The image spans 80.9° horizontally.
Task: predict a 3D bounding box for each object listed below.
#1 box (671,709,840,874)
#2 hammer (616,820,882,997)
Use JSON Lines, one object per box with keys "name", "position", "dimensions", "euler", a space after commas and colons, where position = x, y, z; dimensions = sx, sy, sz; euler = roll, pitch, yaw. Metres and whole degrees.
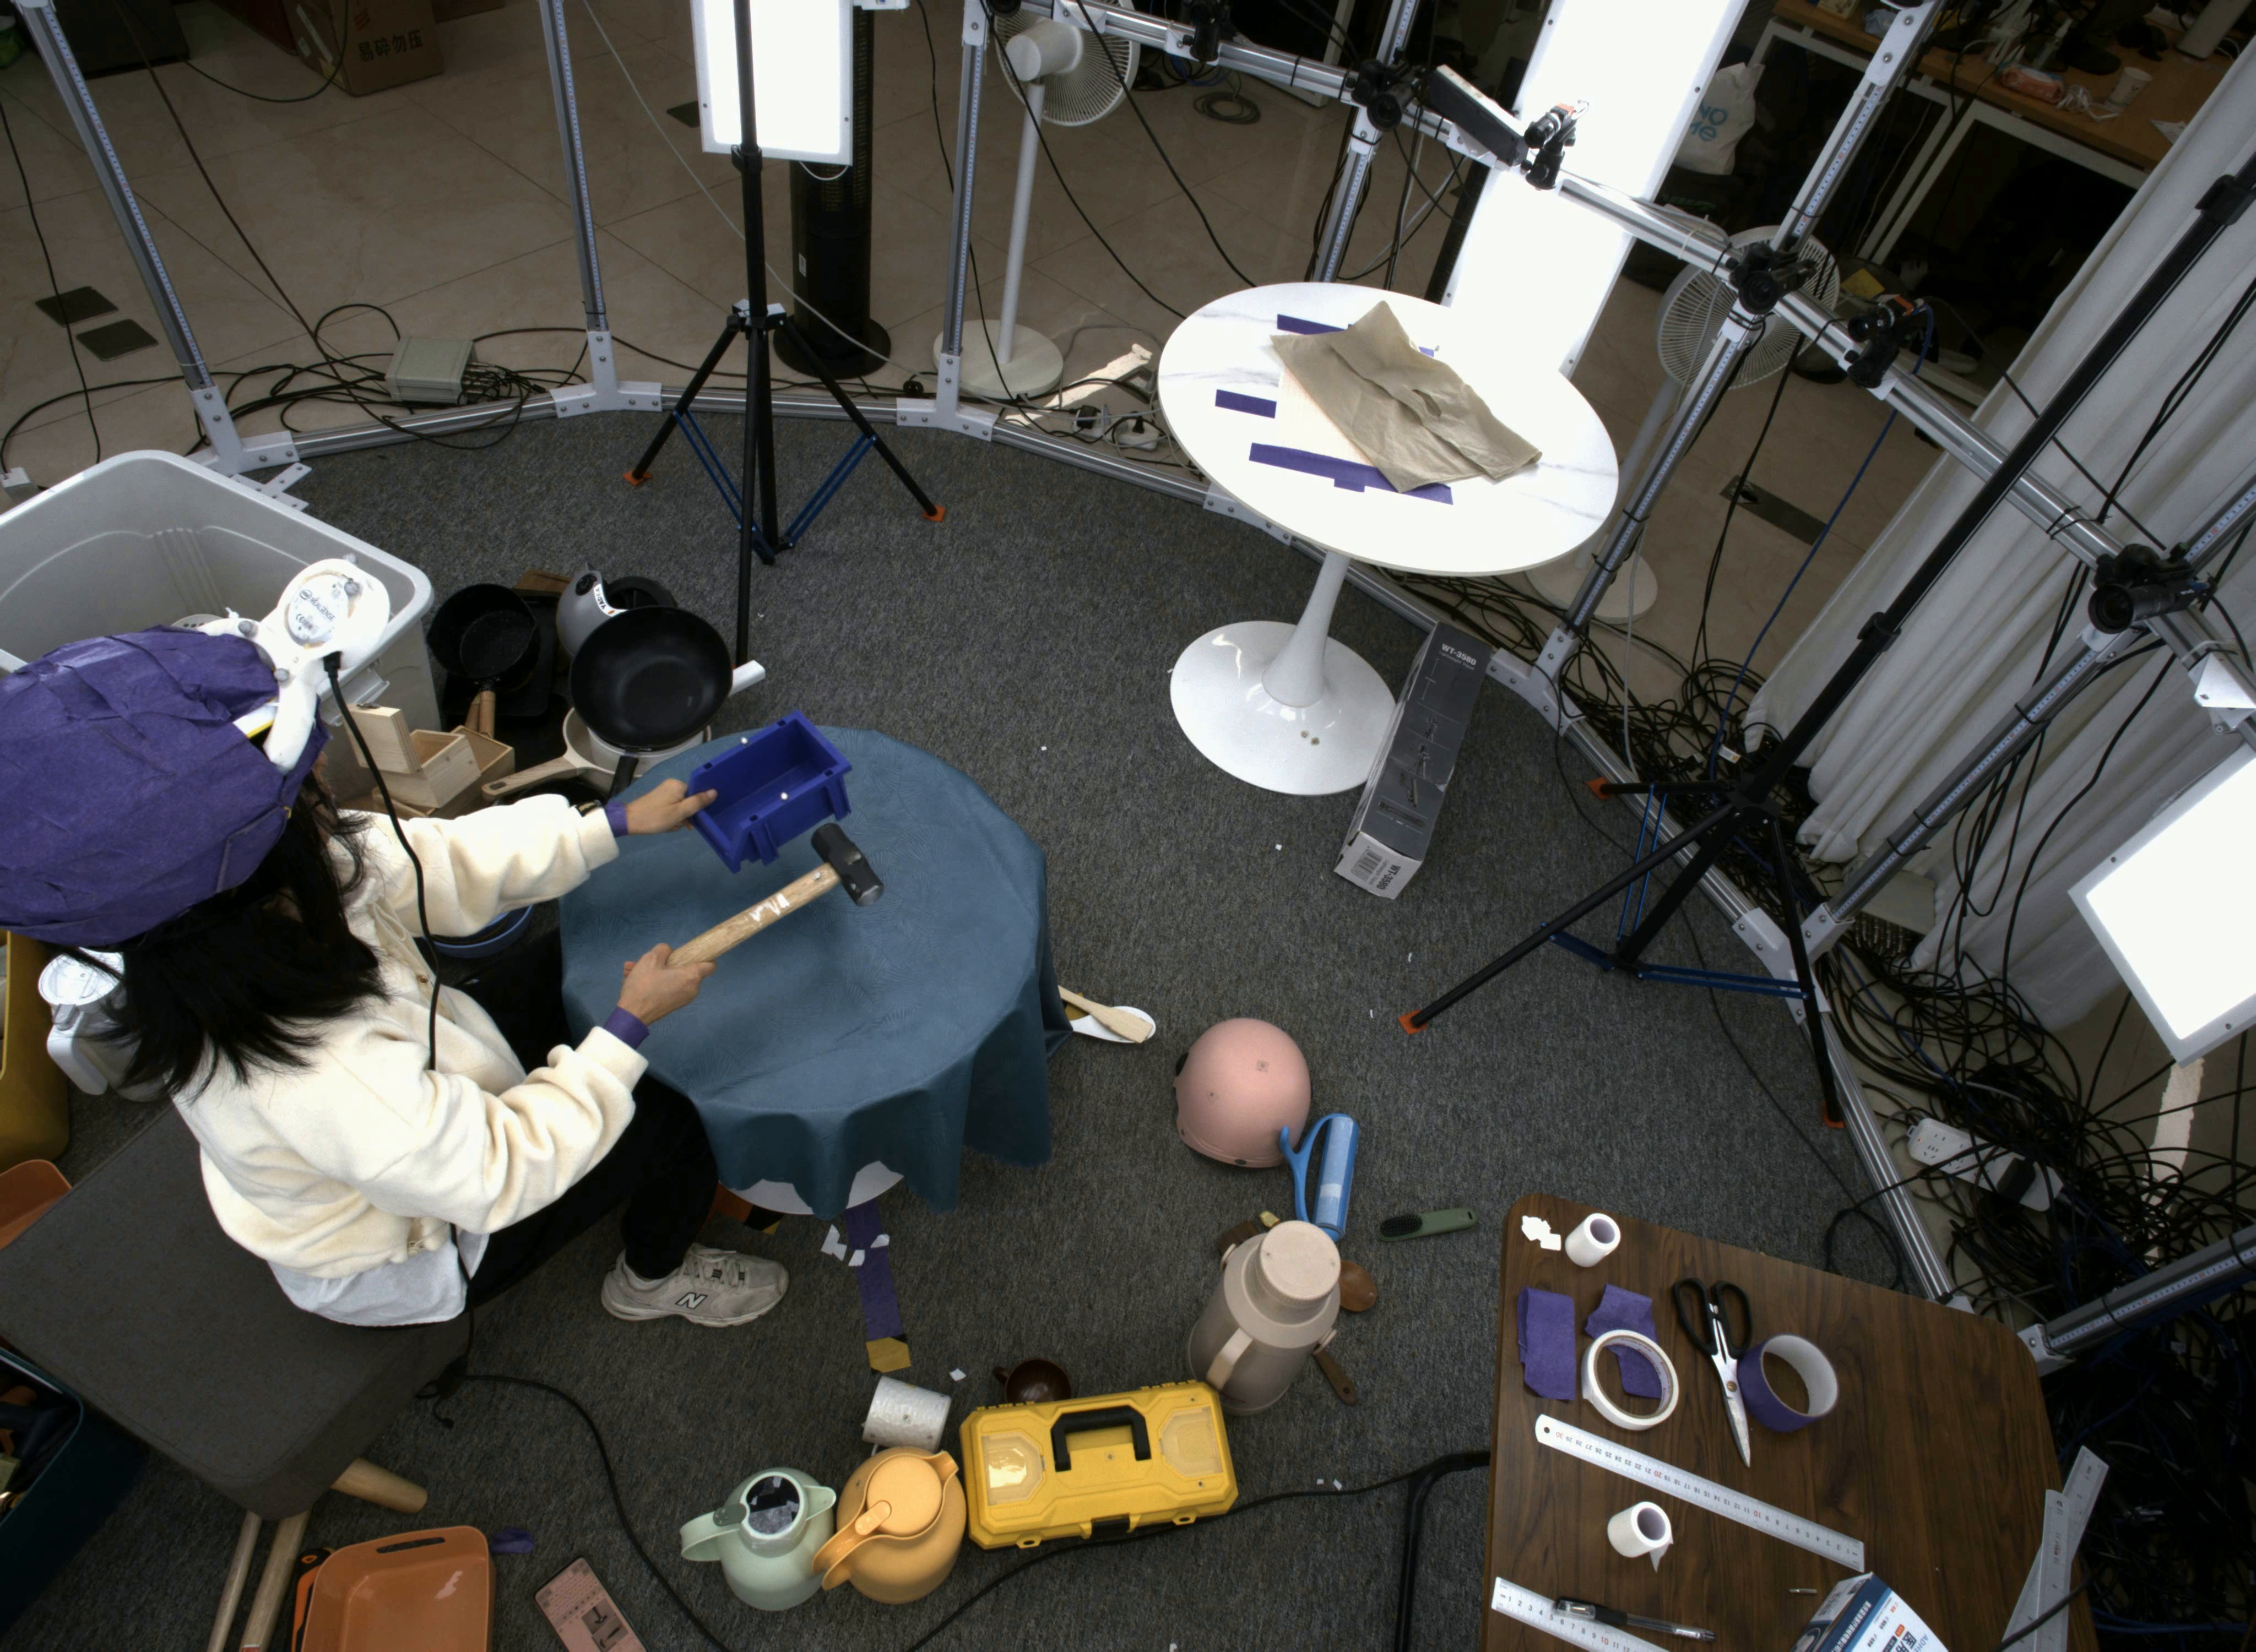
{"name": "box", "position": [-0.446, -0.038, 1.554], "dimensions": [0.180, 0.084, 0.121], "euler": [-34, 60, -26]}
{"name": "hammer", "position": [-0.435, 0.103, 1.467], "dimensions": [0.306, 0.039, 0.105], "euler": [-30, 73, -25]}
